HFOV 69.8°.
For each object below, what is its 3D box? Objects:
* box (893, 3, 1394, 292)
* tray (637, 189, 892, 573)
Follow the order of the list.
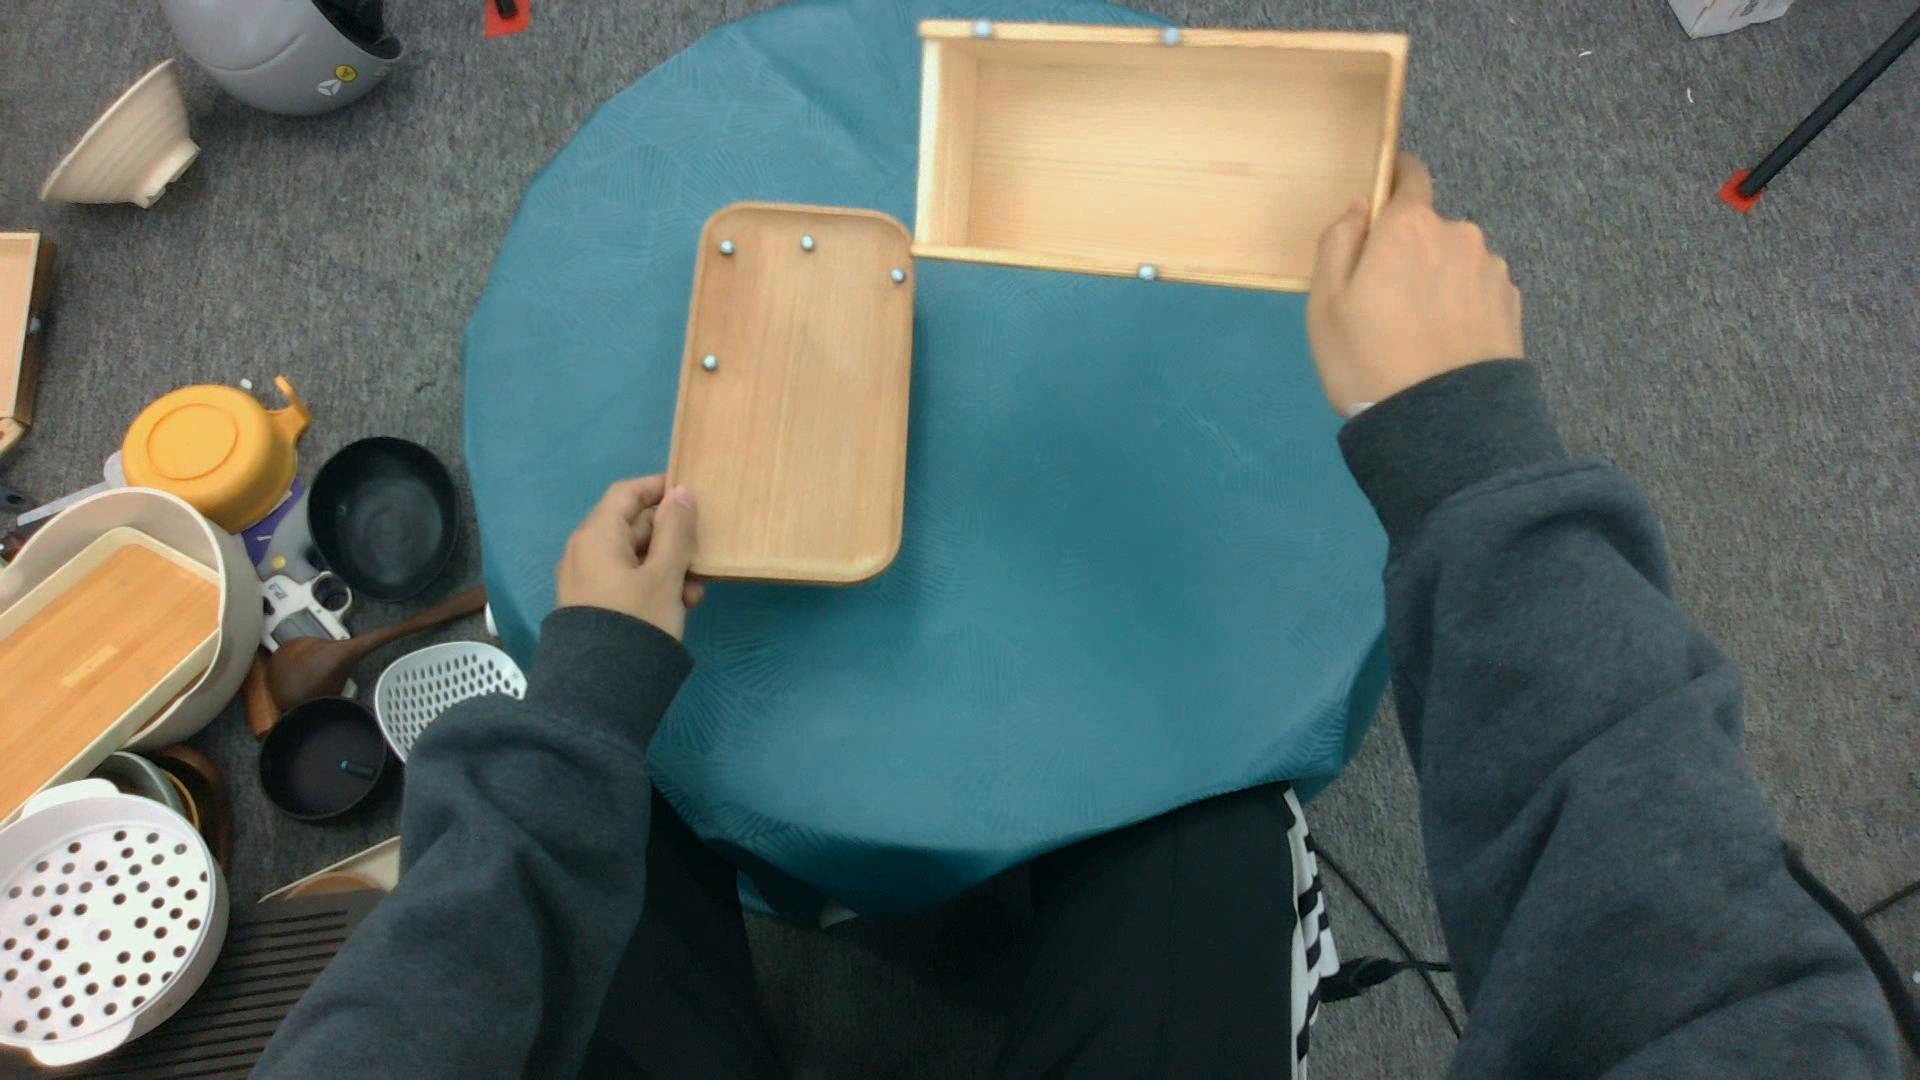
[{"bbox_3d":[0.085,-0.182,0.646,0.211,0.080,0.107,9,102,12],"label":"box"},{"bbox_3d":[-0.104,-0.094,0.769,0.130,0.023,0.251,1,62,-2],"label":"tray"}]
